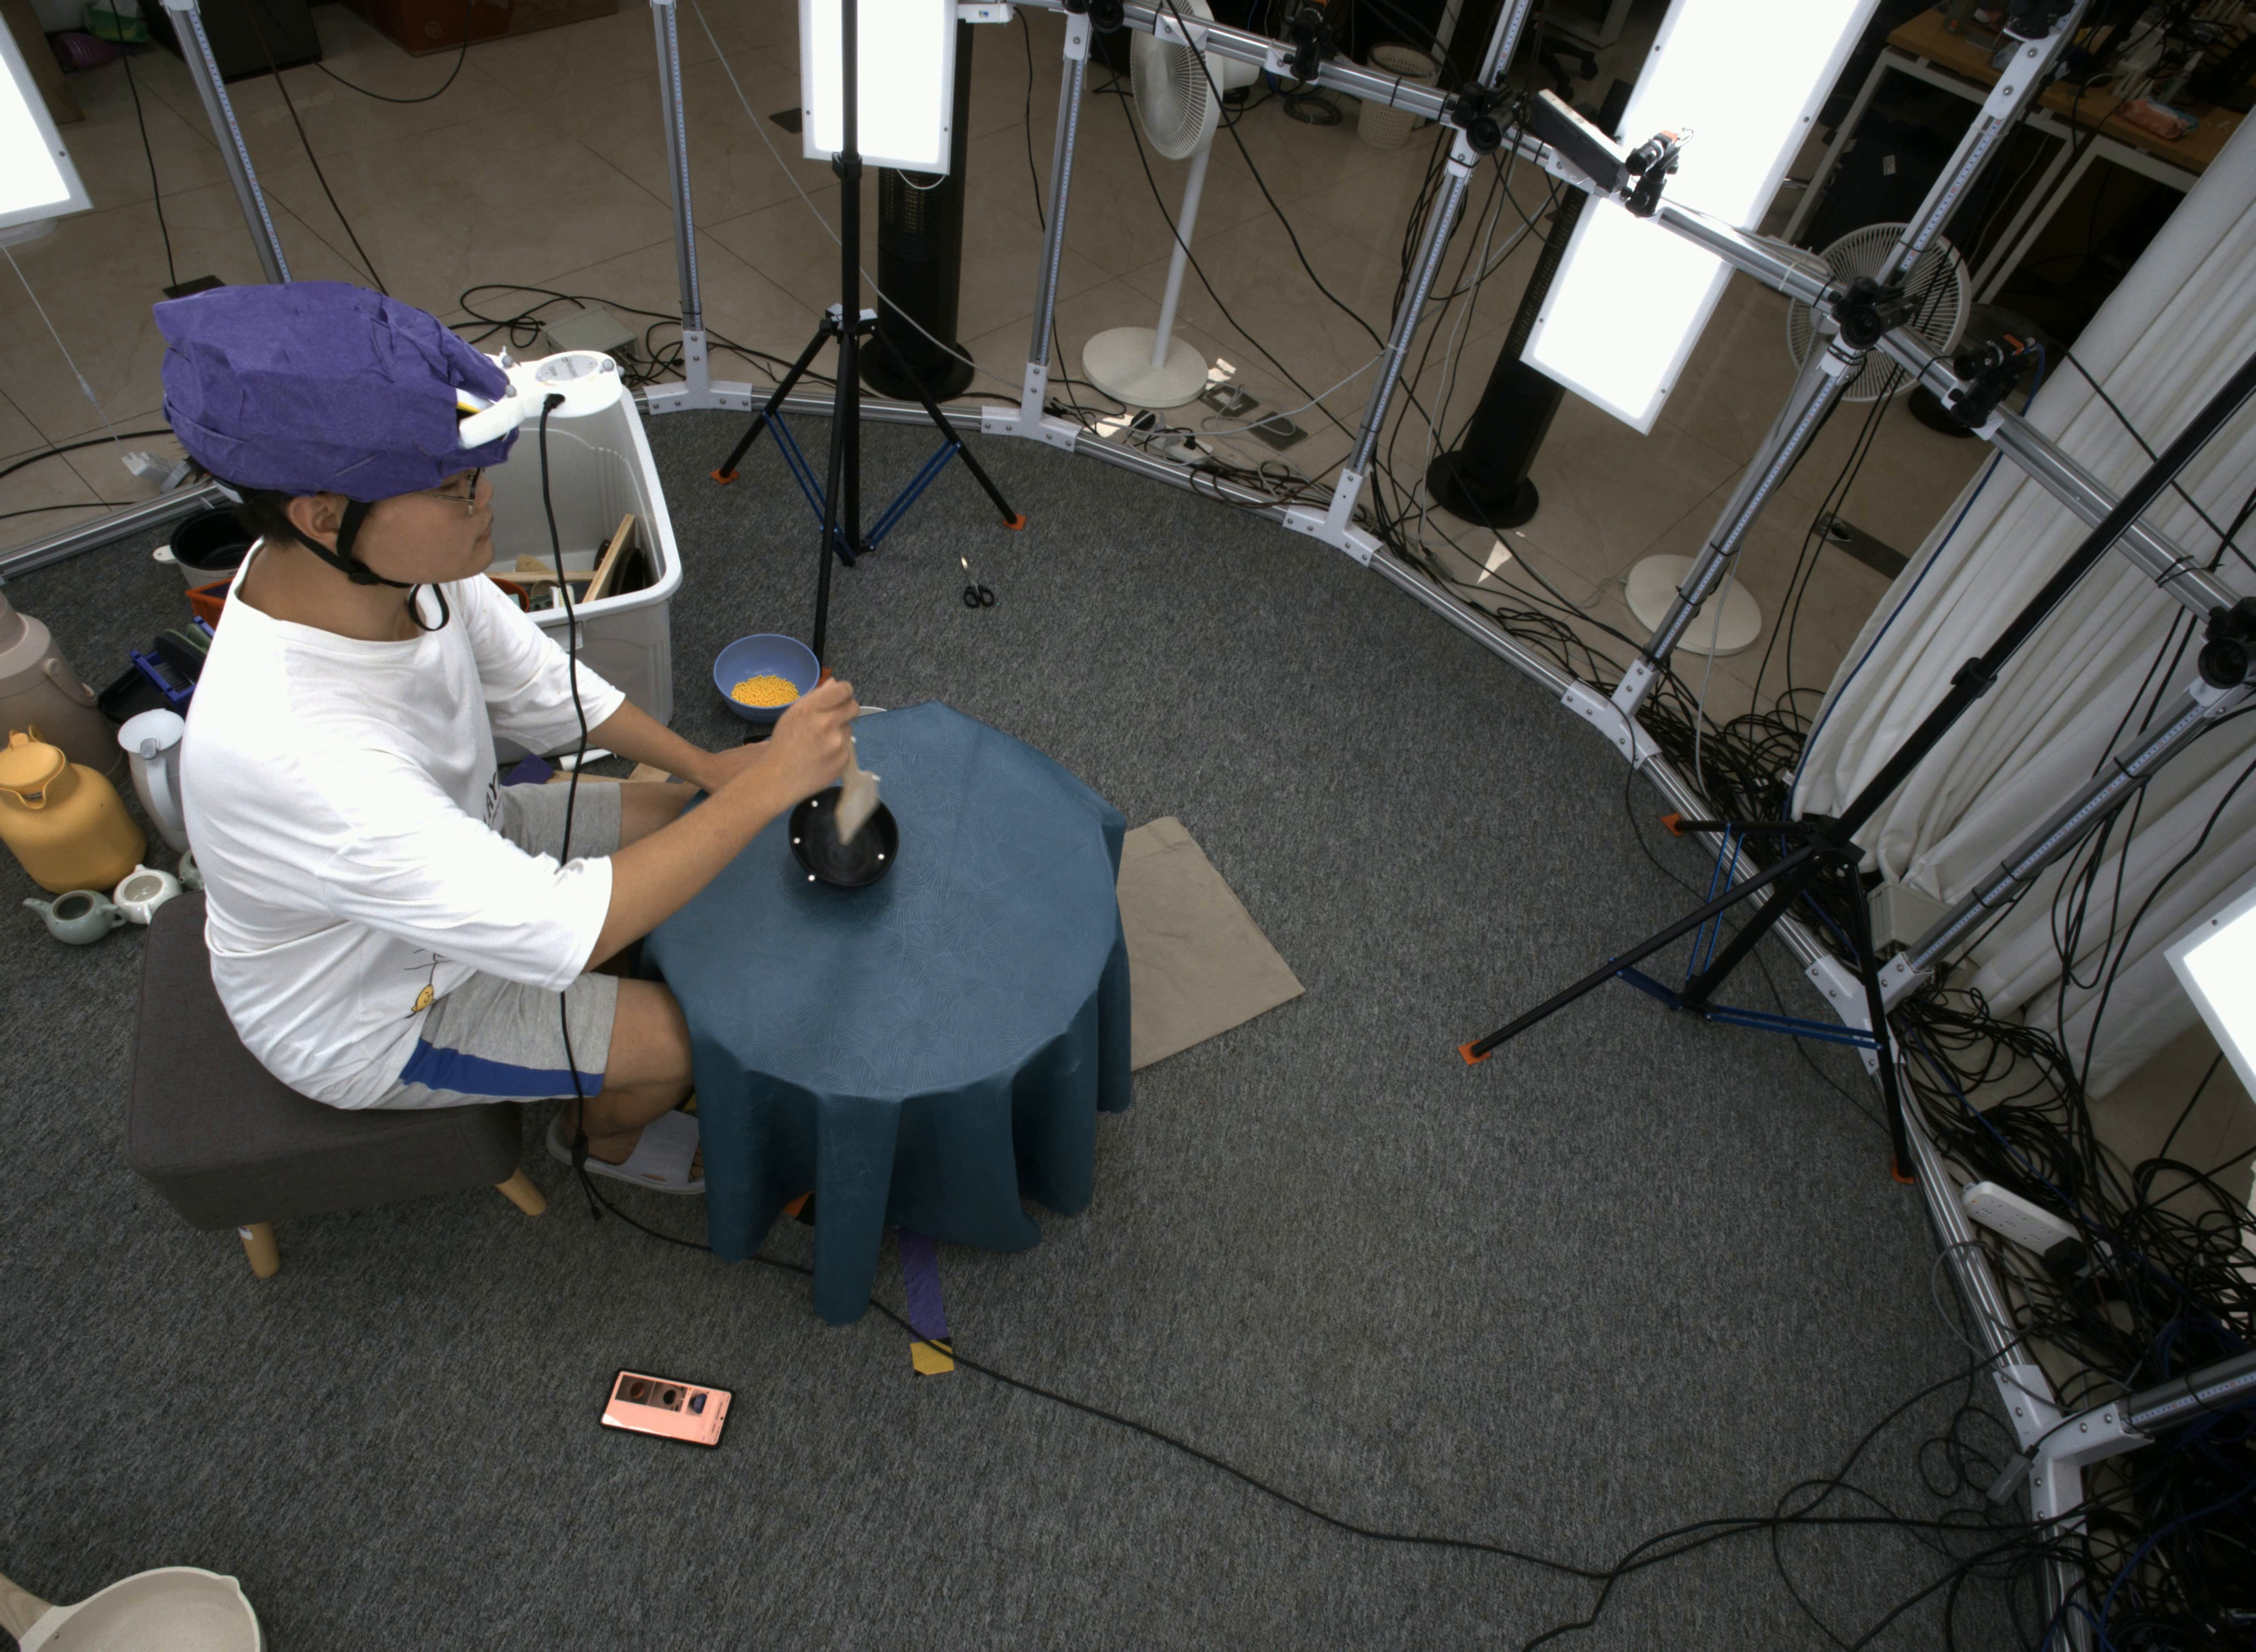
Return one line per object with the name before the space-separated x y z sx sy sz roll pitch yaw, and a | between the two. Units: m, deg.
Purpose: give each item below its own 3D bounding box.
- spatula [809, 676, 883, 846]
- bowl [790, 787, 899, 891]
spatula | -0.314 -0.073 1.443 0.010 0.300 0.072 29 64 15
bowl | -0.368 0.024 1.689 0.138 0.068 0.166 -14 56 -21
